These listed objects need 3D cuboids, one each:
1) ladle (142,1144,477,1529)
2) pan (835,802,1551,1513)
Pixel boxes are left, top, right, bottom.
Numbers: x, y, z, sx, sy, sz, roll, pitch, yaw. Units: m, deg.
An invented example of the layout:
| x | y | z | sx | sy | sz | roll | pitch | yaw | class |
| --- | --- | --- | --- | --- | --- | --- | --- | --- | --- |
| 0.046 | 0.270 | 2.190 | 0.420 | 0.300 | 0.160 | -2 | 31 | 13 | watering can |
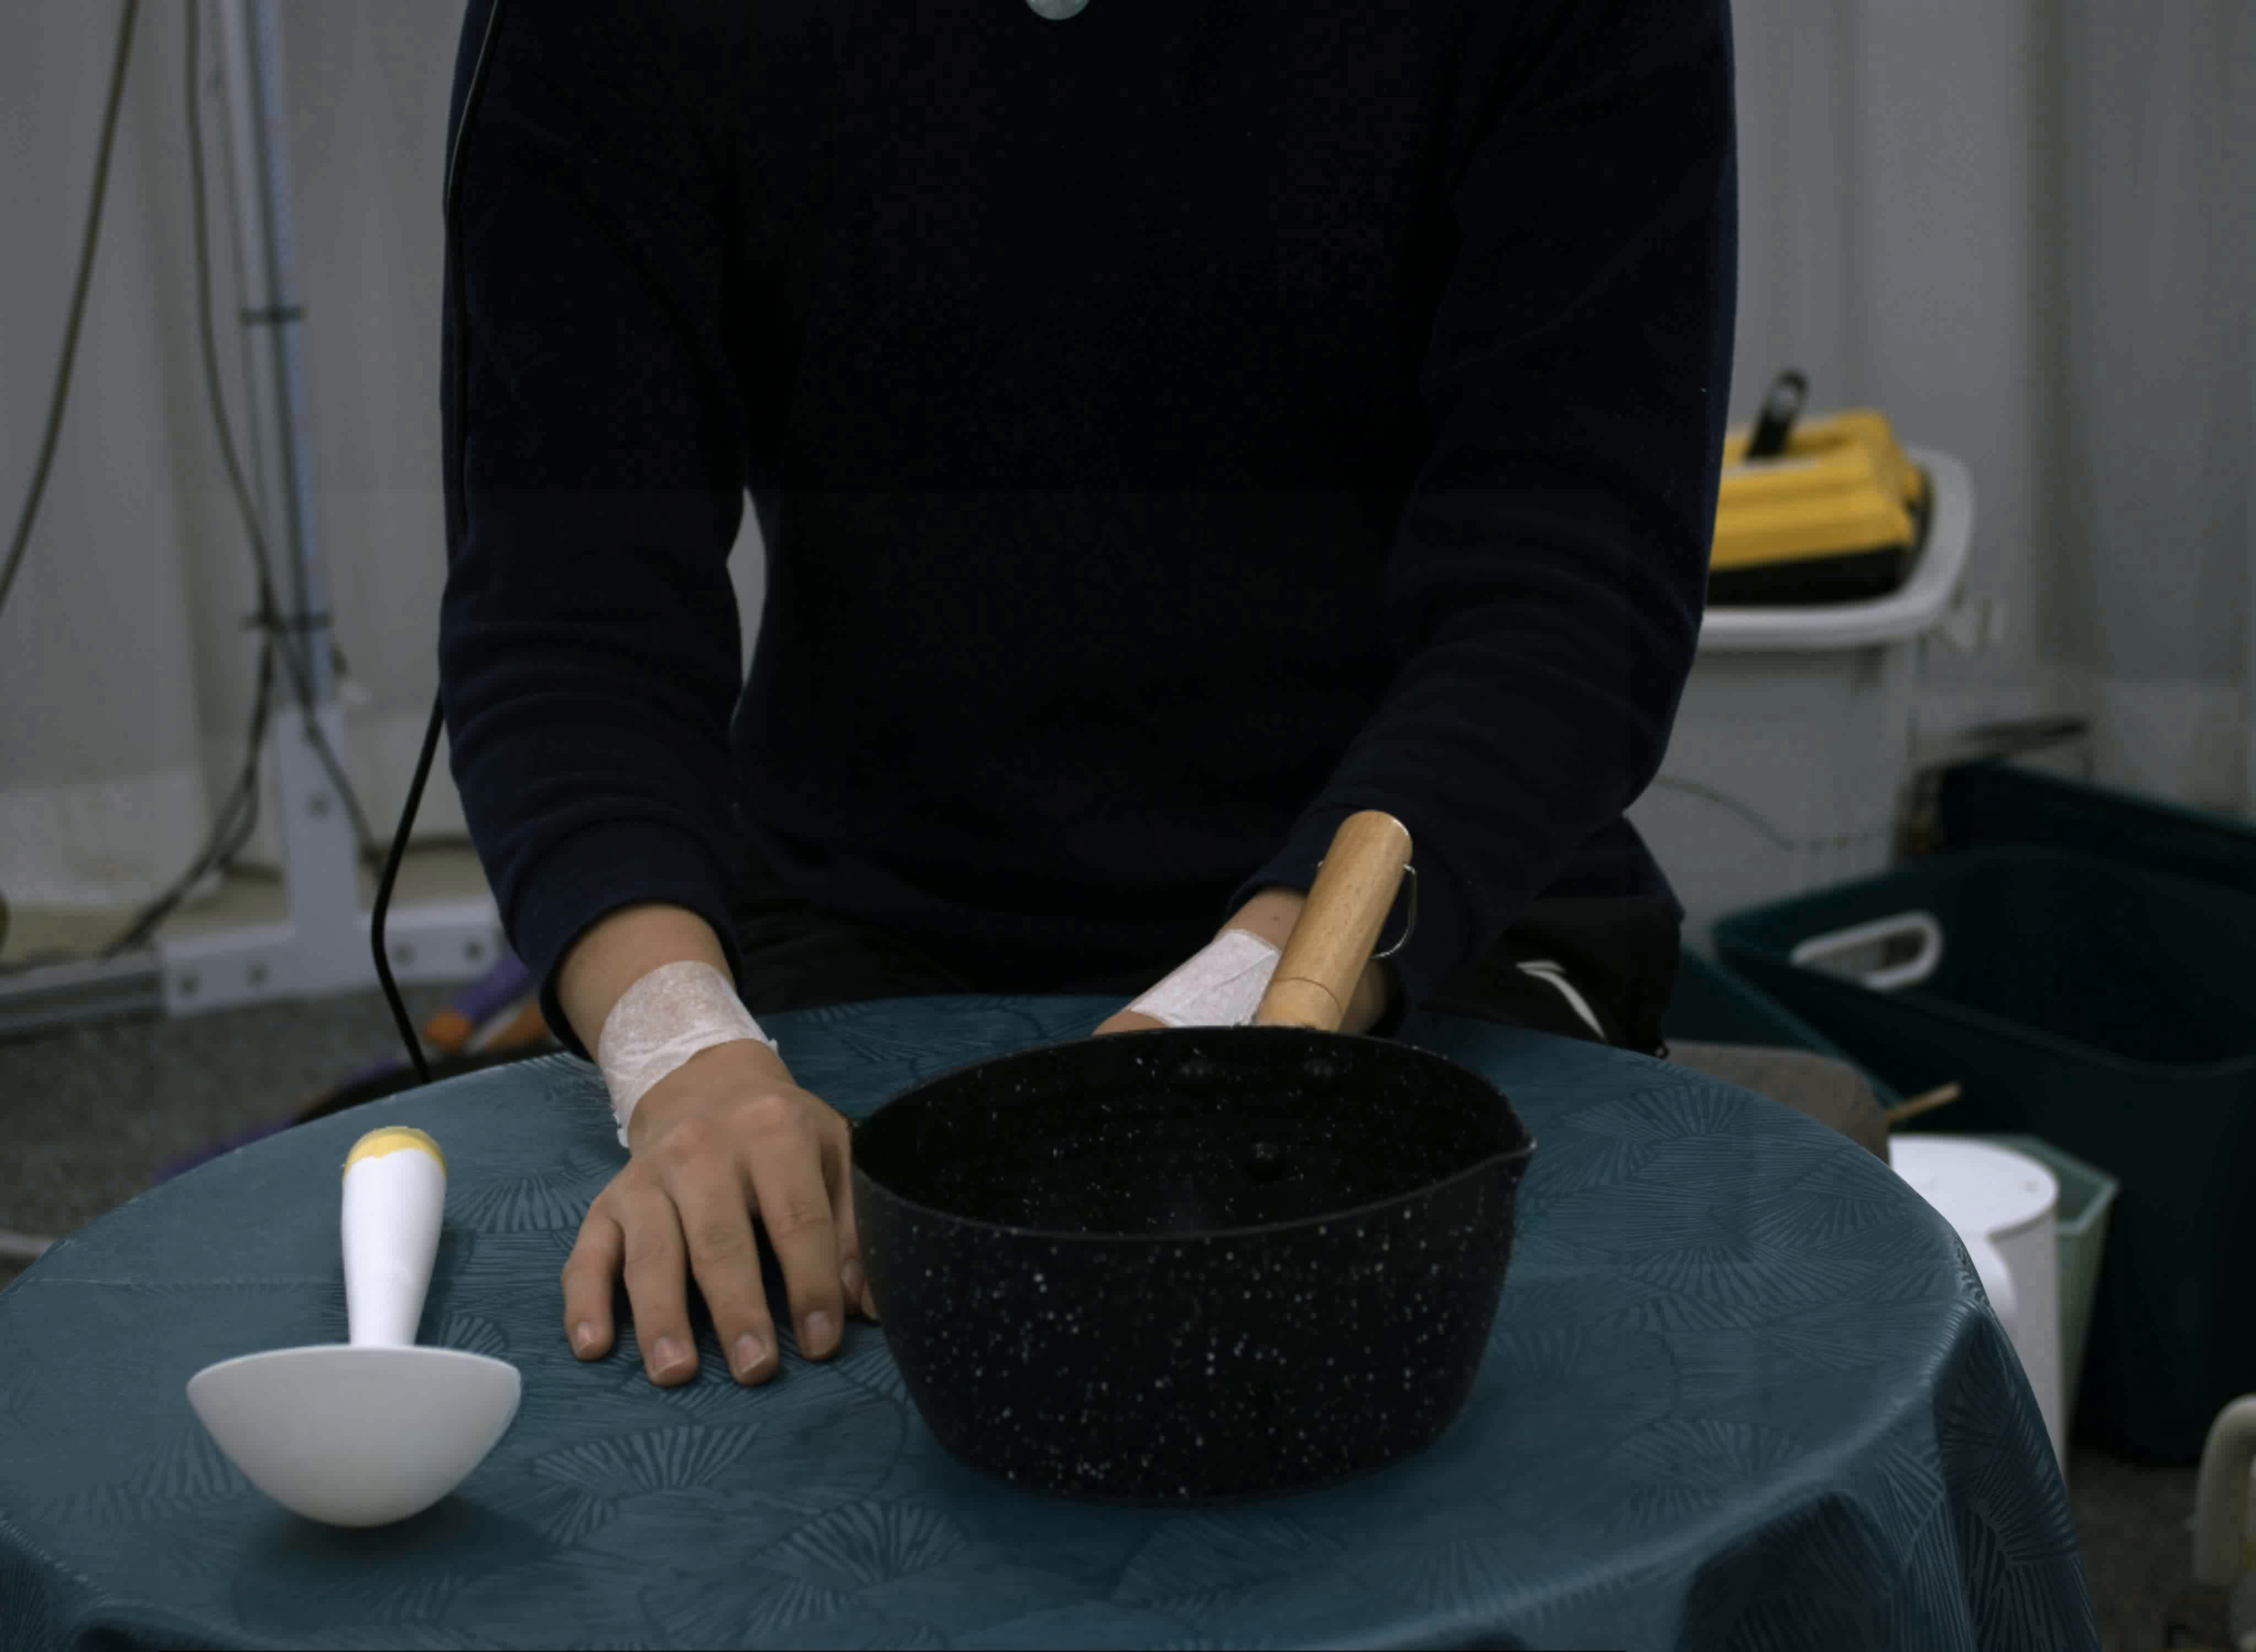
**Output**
| x | y | z | sx | sy | sz | roll | pitch | yaw | class |
| --- | --- | --- | --- | --- | --- | --- | --- | --- | --- |
| -0.223 | 0.132 | 1.574 | 0.090 | 0.069 | 0.295 | -9 | 14 | -1 | ladle |
| 0.036 | 0.091 | 1.591 | 0.207 | 0.108 | 0.344 | 0 | 16 | 15 | pan |
